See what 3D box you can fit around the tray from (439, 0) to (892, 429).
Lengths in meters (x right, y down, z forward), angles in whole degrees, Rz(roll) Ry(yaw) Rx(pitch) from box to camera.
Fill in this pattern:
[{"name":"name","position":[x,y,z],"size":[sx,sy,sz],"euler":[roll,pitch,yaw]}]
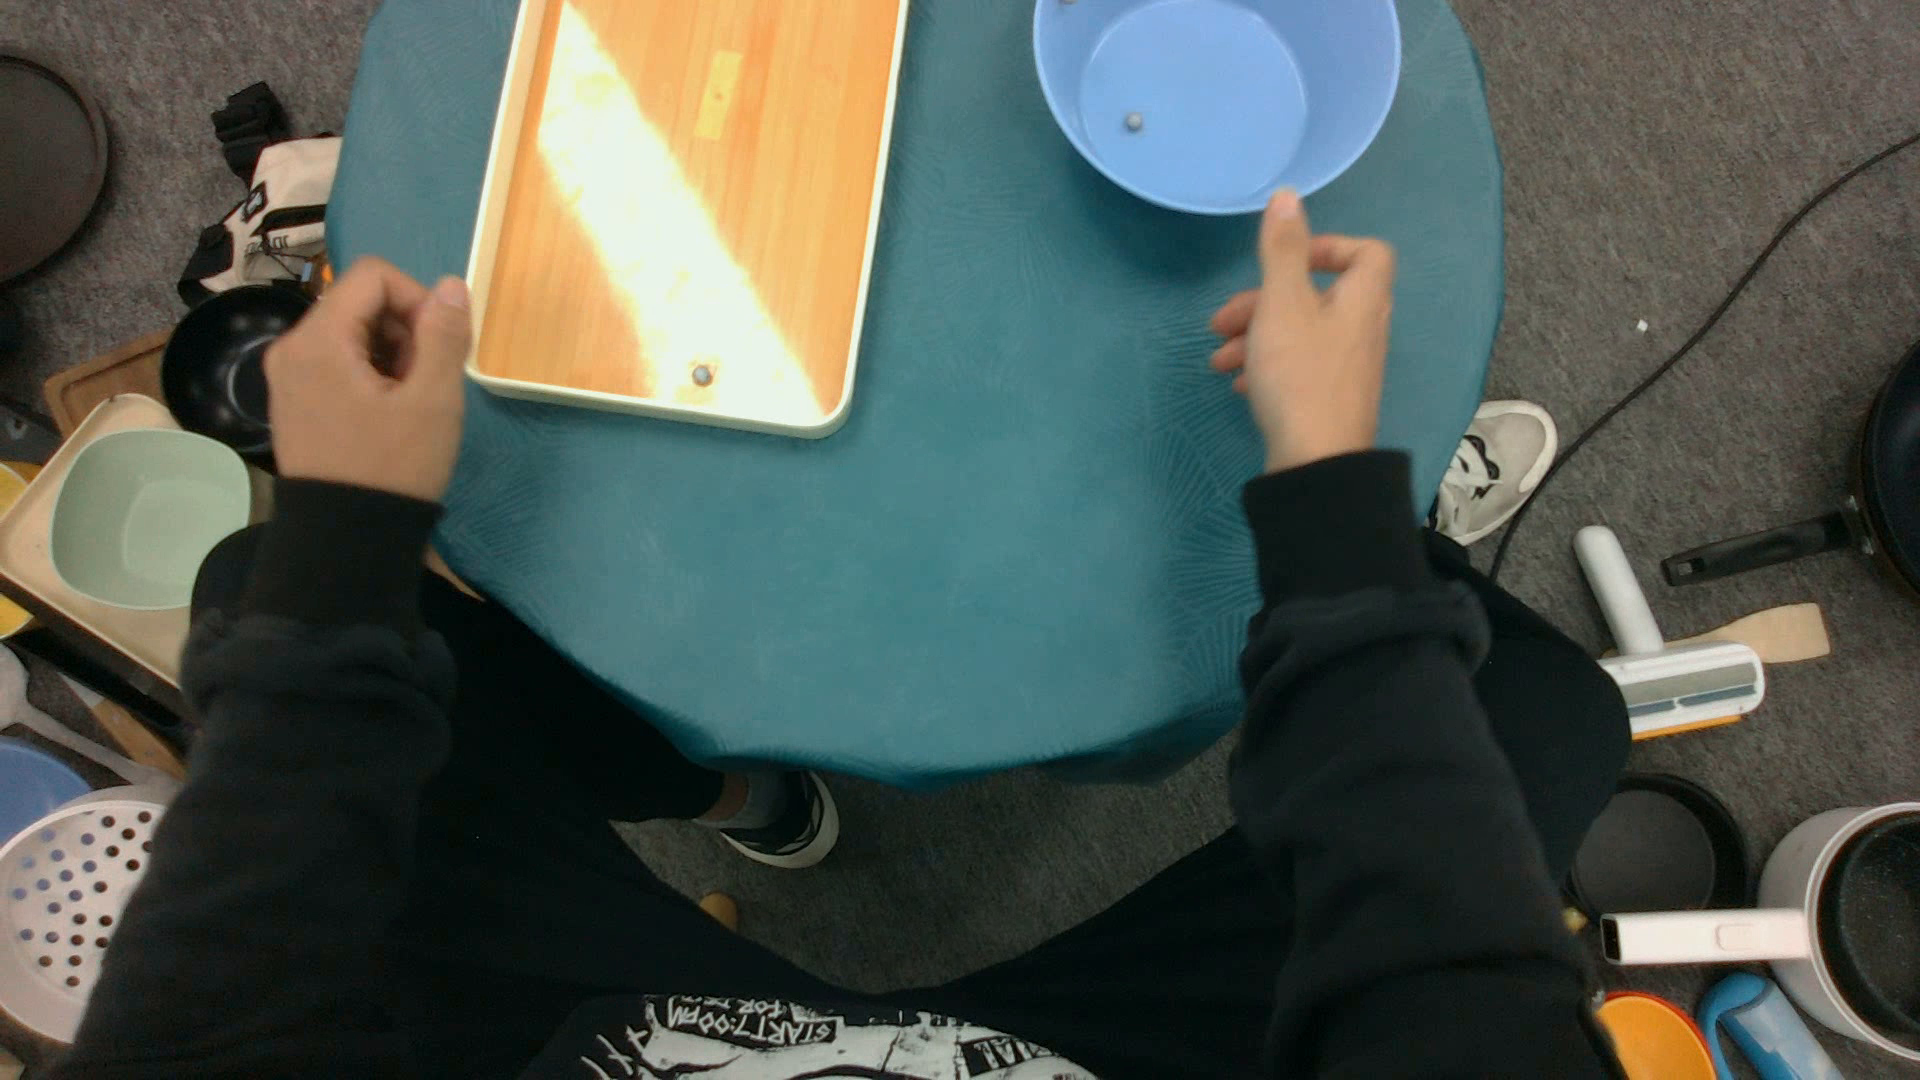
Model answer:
[{"name":"tray","position":[-0.139,-0.212,0.696],"size":[0.191,0.027,0.301],"euler":[8,79,-1]}]

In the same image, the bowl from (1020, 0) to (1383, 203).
[{"name":"bowl","position":[0.115,-0.238,0.691],"size":[0.176,0.070,0.176],"euler":[1,78,-3]}]
